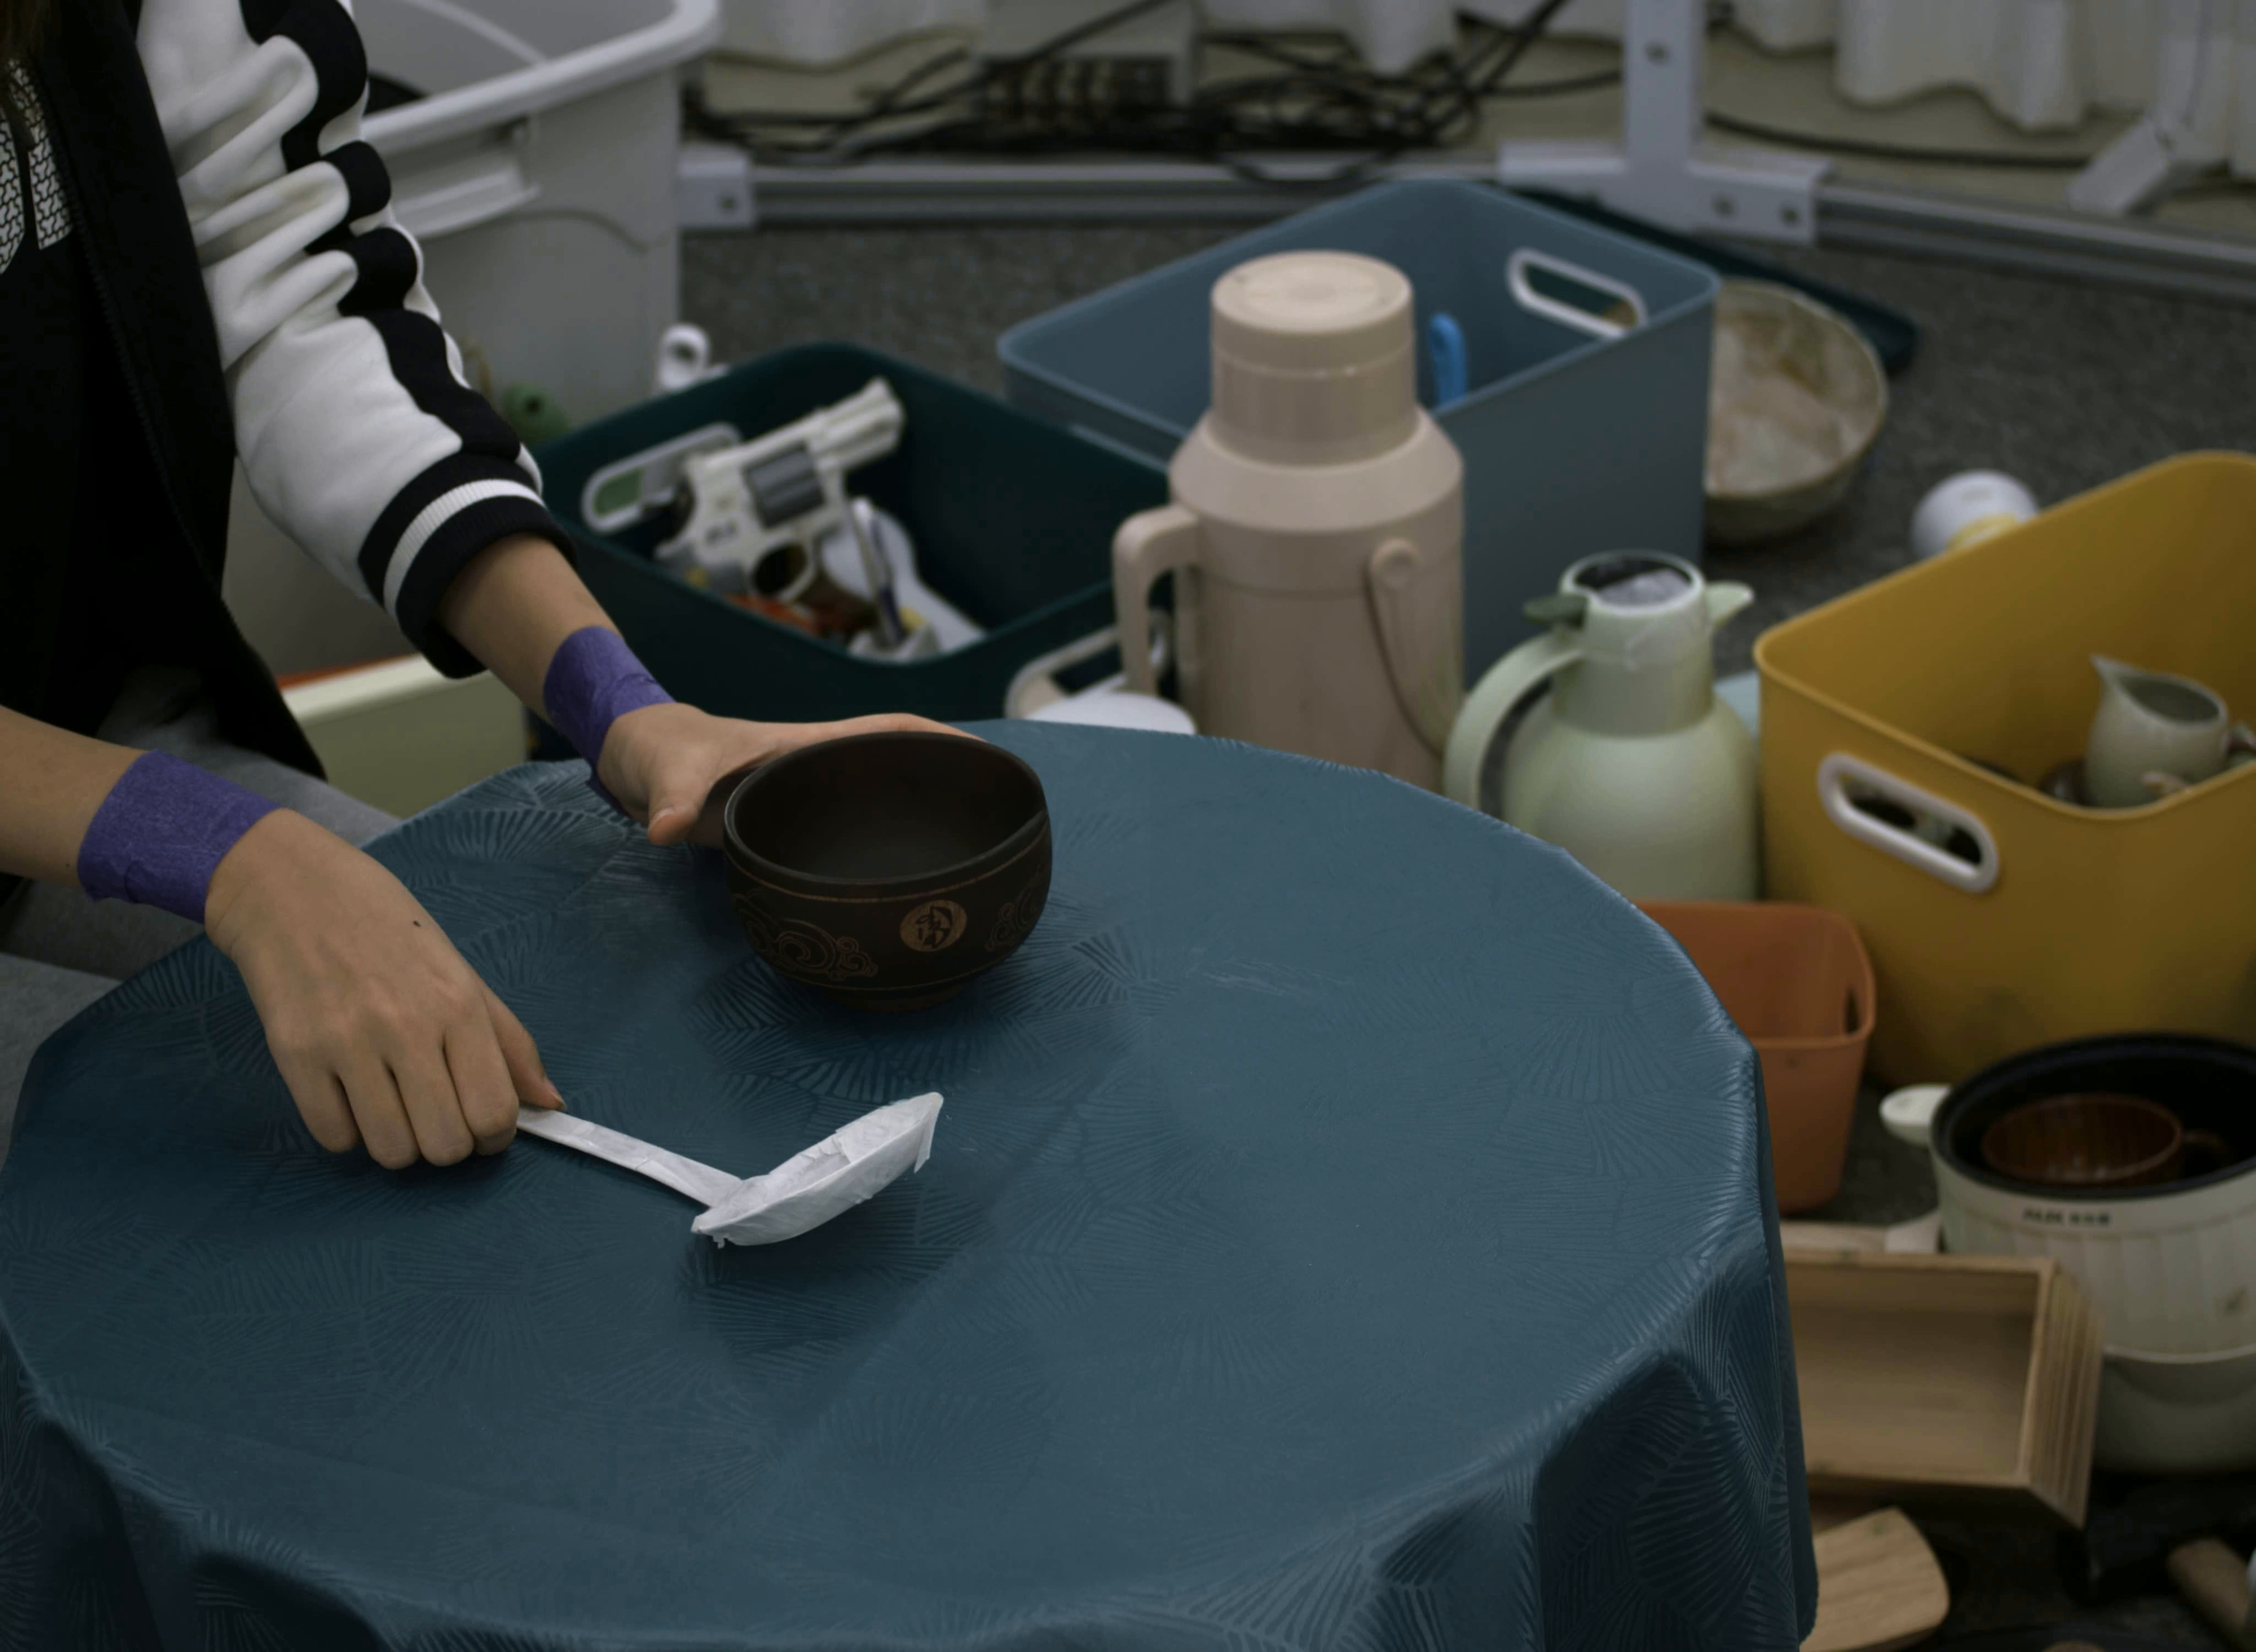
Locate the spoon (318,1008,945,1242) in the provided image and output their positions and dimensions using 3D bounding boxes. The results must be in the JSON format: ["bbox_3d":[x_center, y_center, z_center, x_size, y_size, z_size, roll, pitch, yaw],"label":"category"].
[{"bbox_3d":[-0.175,0.082,1.892,0.276,0.059,0.102,20,31,36],"label":"spoon"}]

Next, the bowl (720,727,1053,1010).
[{"bbox_3d":[-0.084,0.021,1.985,0.117,0.069,0.120,-2,27,1],"label":"bowl"}]
